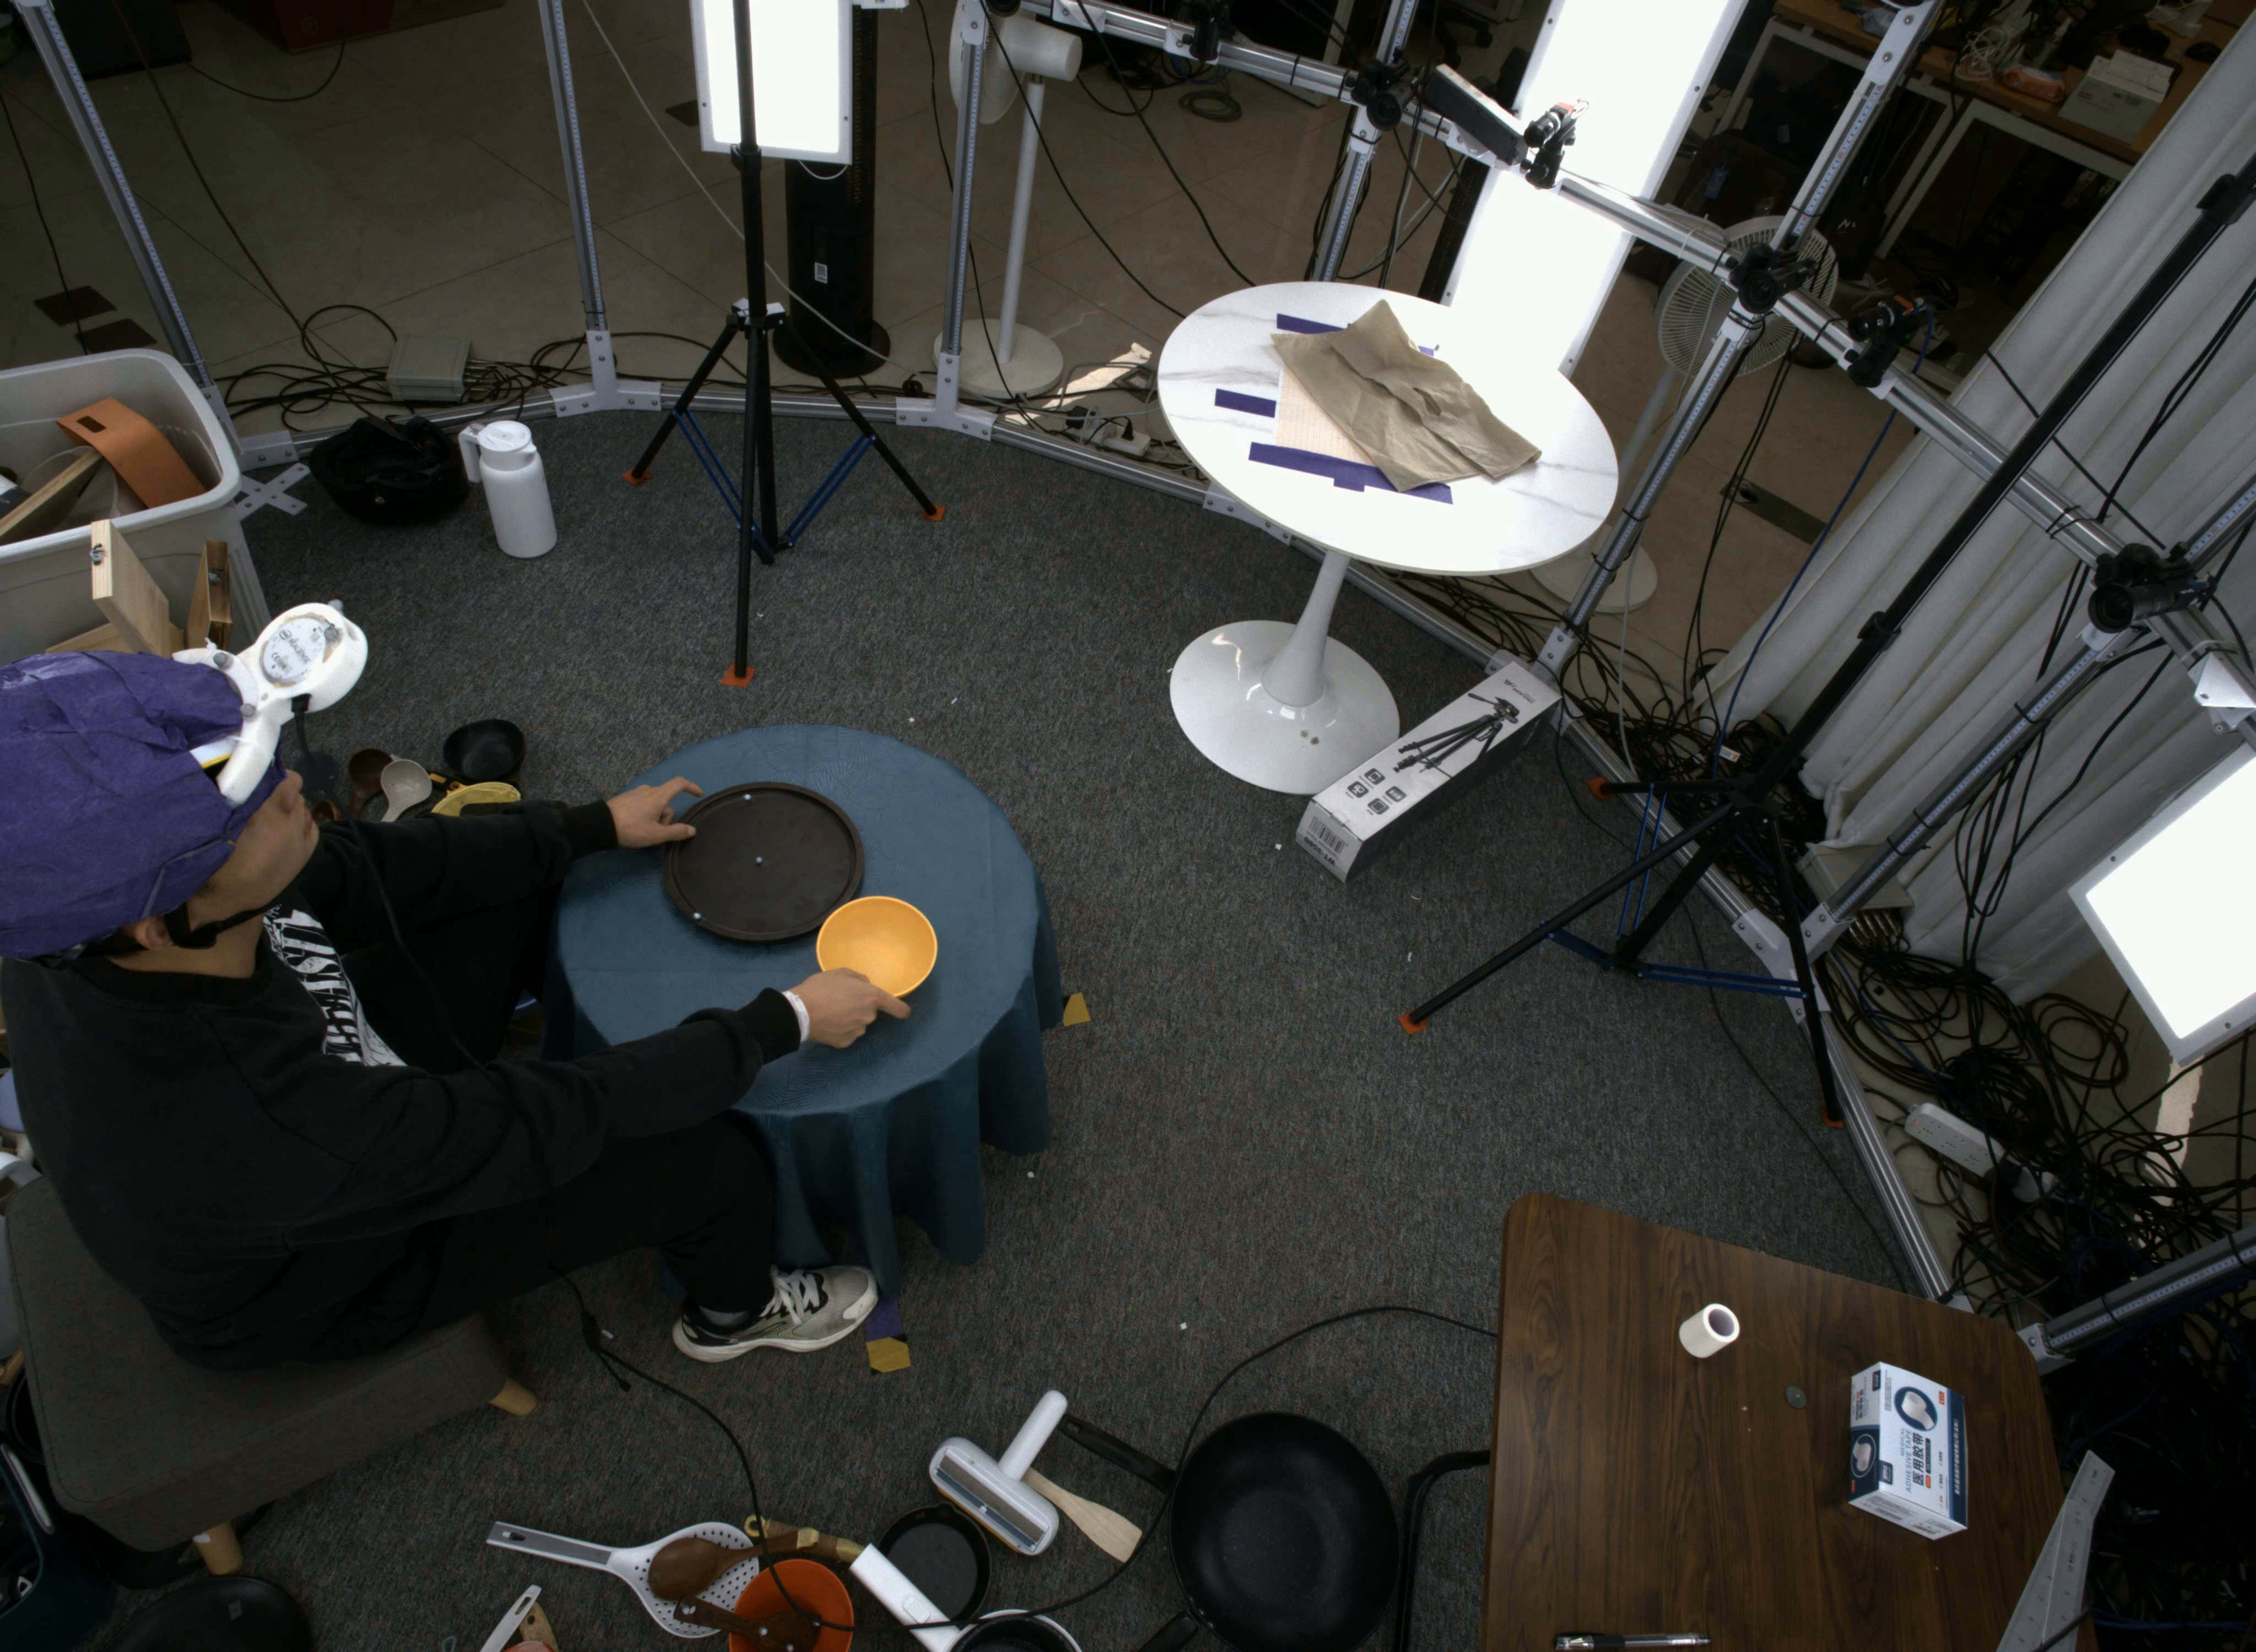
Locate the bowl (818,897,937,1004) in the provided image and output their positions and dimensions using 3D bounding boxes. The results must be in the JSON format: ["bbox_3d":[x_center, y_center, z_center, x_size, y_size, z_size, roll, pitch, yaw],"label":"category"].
[{"bbox_3d":[-0.307,0.162,1.602,0.144,0.061,0.143,5,56,-6],"label":"bowl"}]

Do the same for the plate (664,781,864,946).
[{"bbox_3d":[-0.468,0.046,1.669,0.254,0.029,0.250,8,54,-9],"label":"plate"}]
